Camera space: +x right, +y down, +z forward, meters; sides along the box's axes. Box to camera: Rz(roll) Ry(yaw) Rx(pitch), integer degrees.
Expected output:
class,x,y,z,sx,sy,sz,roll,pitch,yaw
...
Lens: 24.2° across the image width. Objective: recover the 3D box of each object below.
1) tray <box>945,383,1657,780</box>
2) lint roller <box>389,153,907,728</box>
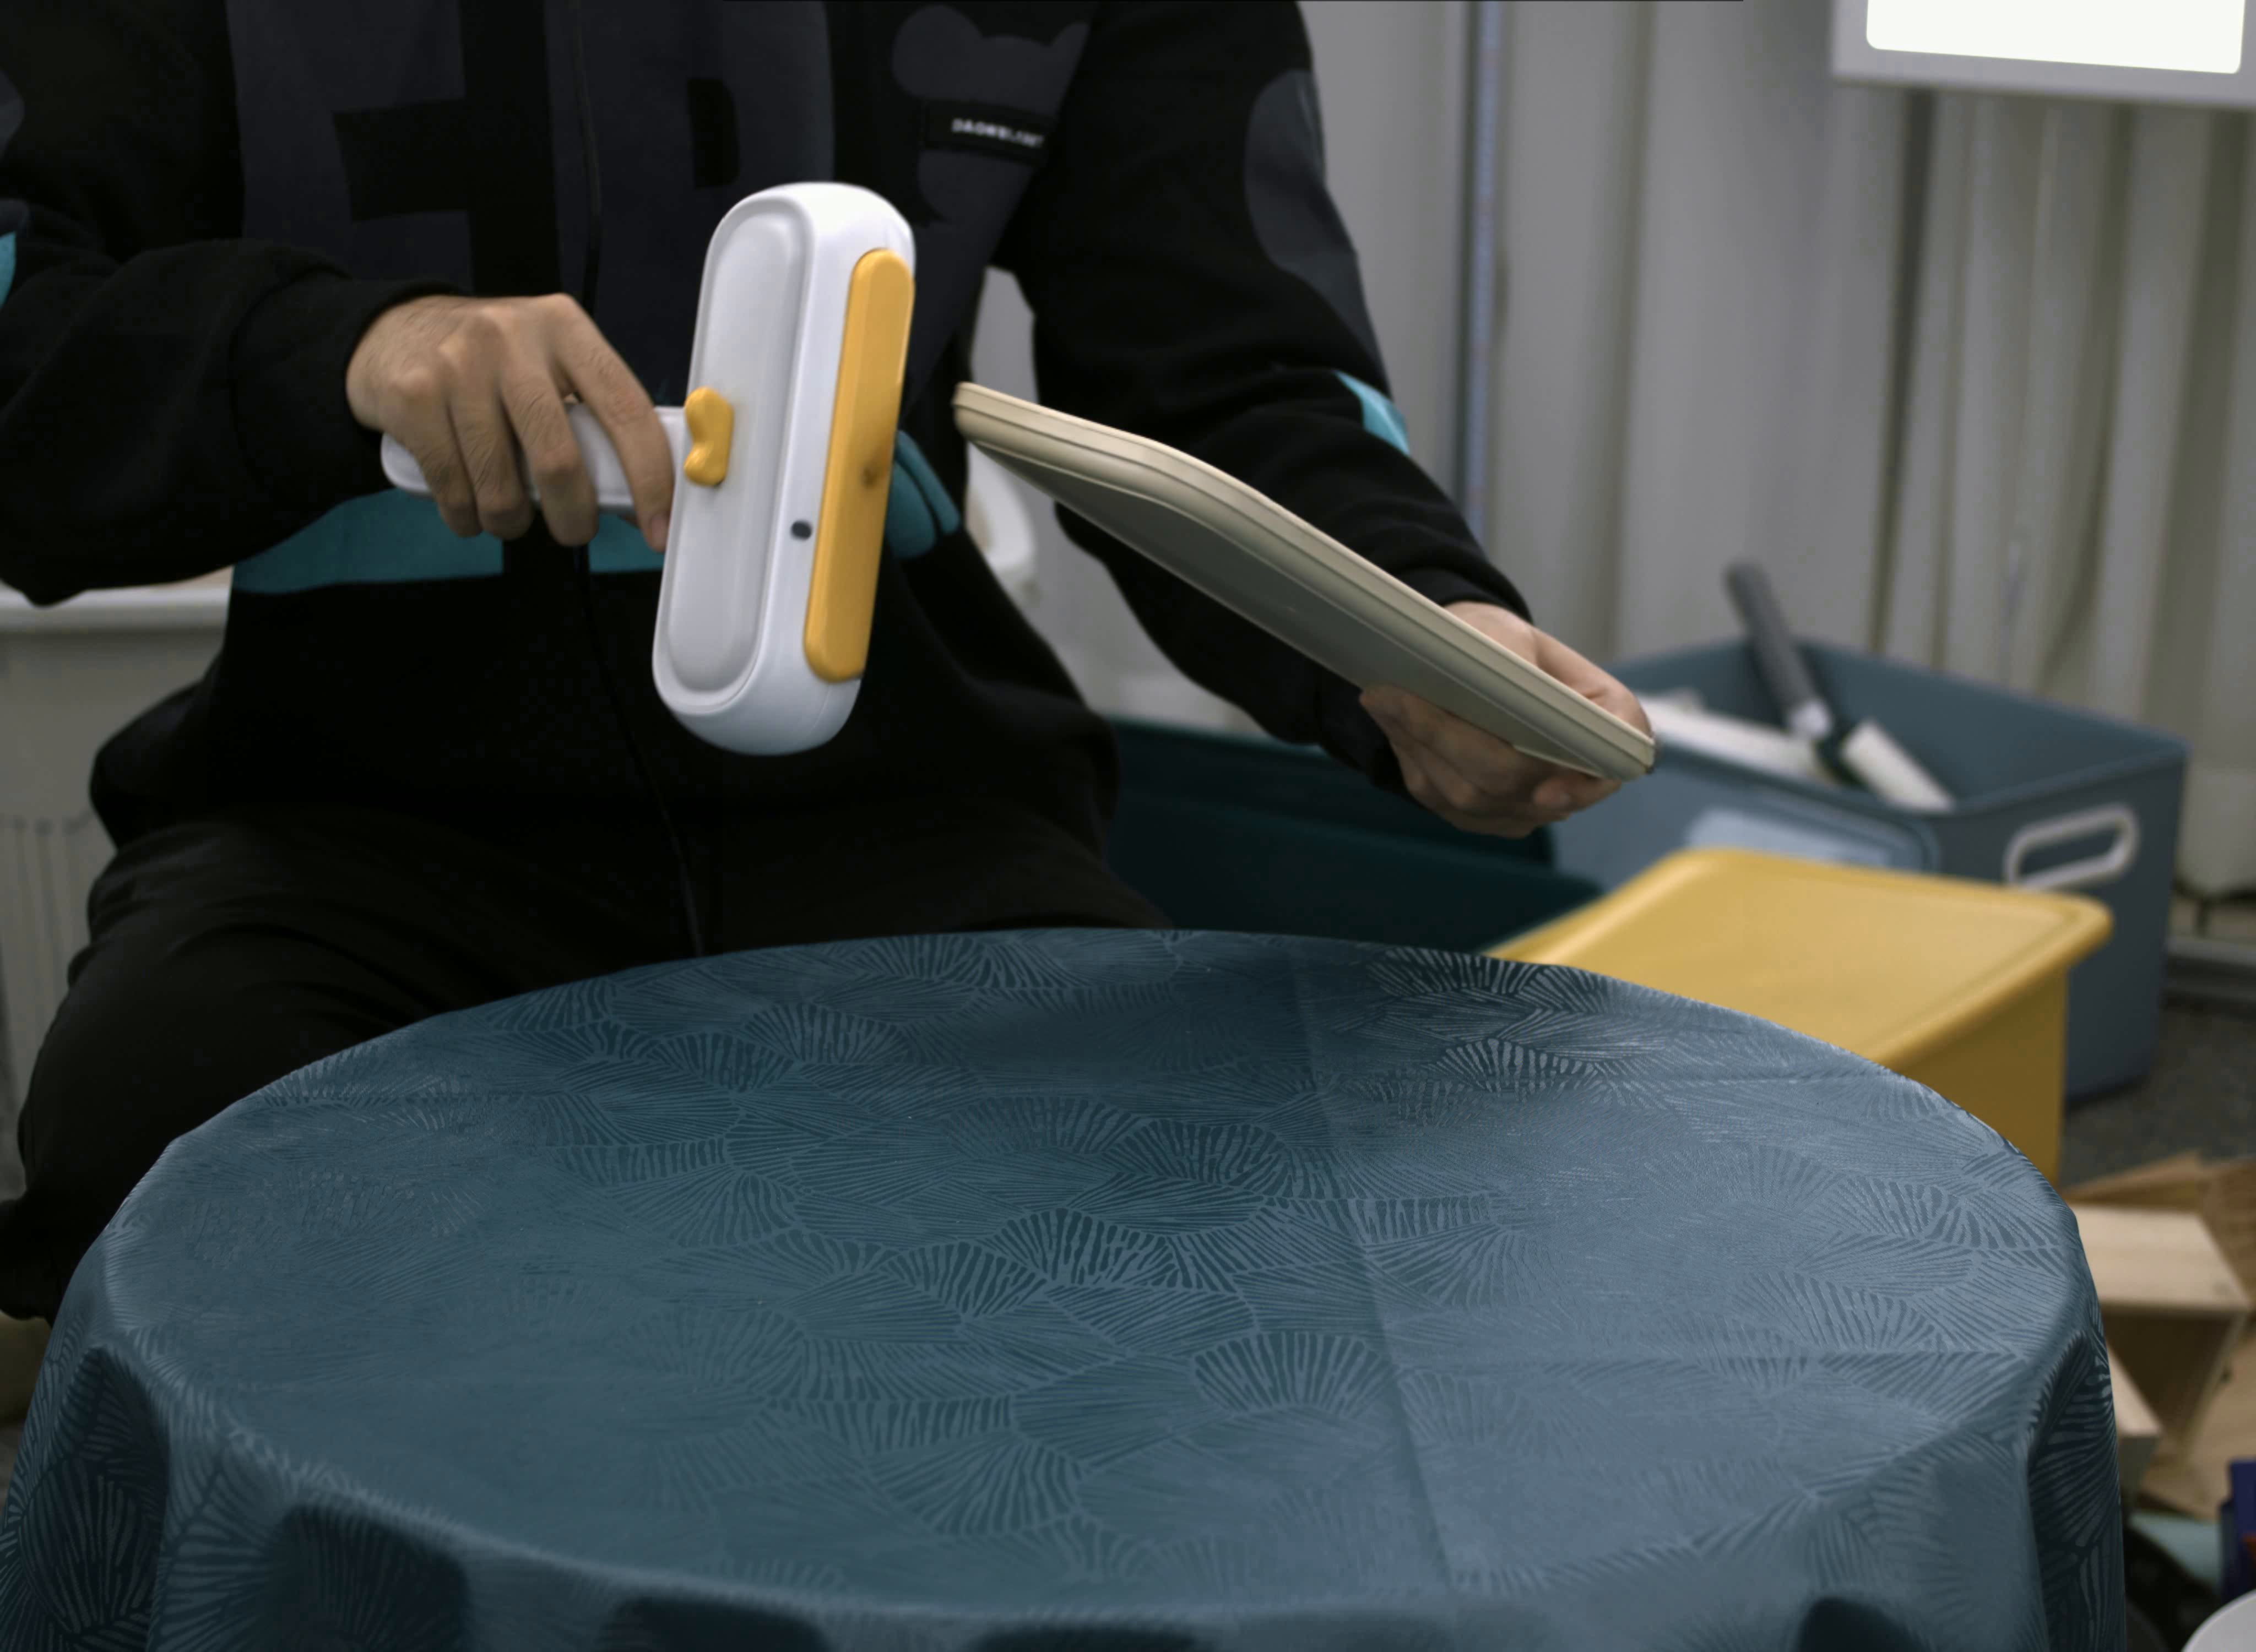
class,x,y,z,sx,sy,sz,roll,pitch,yaw
tray,0.056,-0.079,1.762,0.242,0.017,0.169,30,-6,-34
lint roller,-0.163,-0.127,1.780,0.190,0.193,0.075,-2,-6,36
